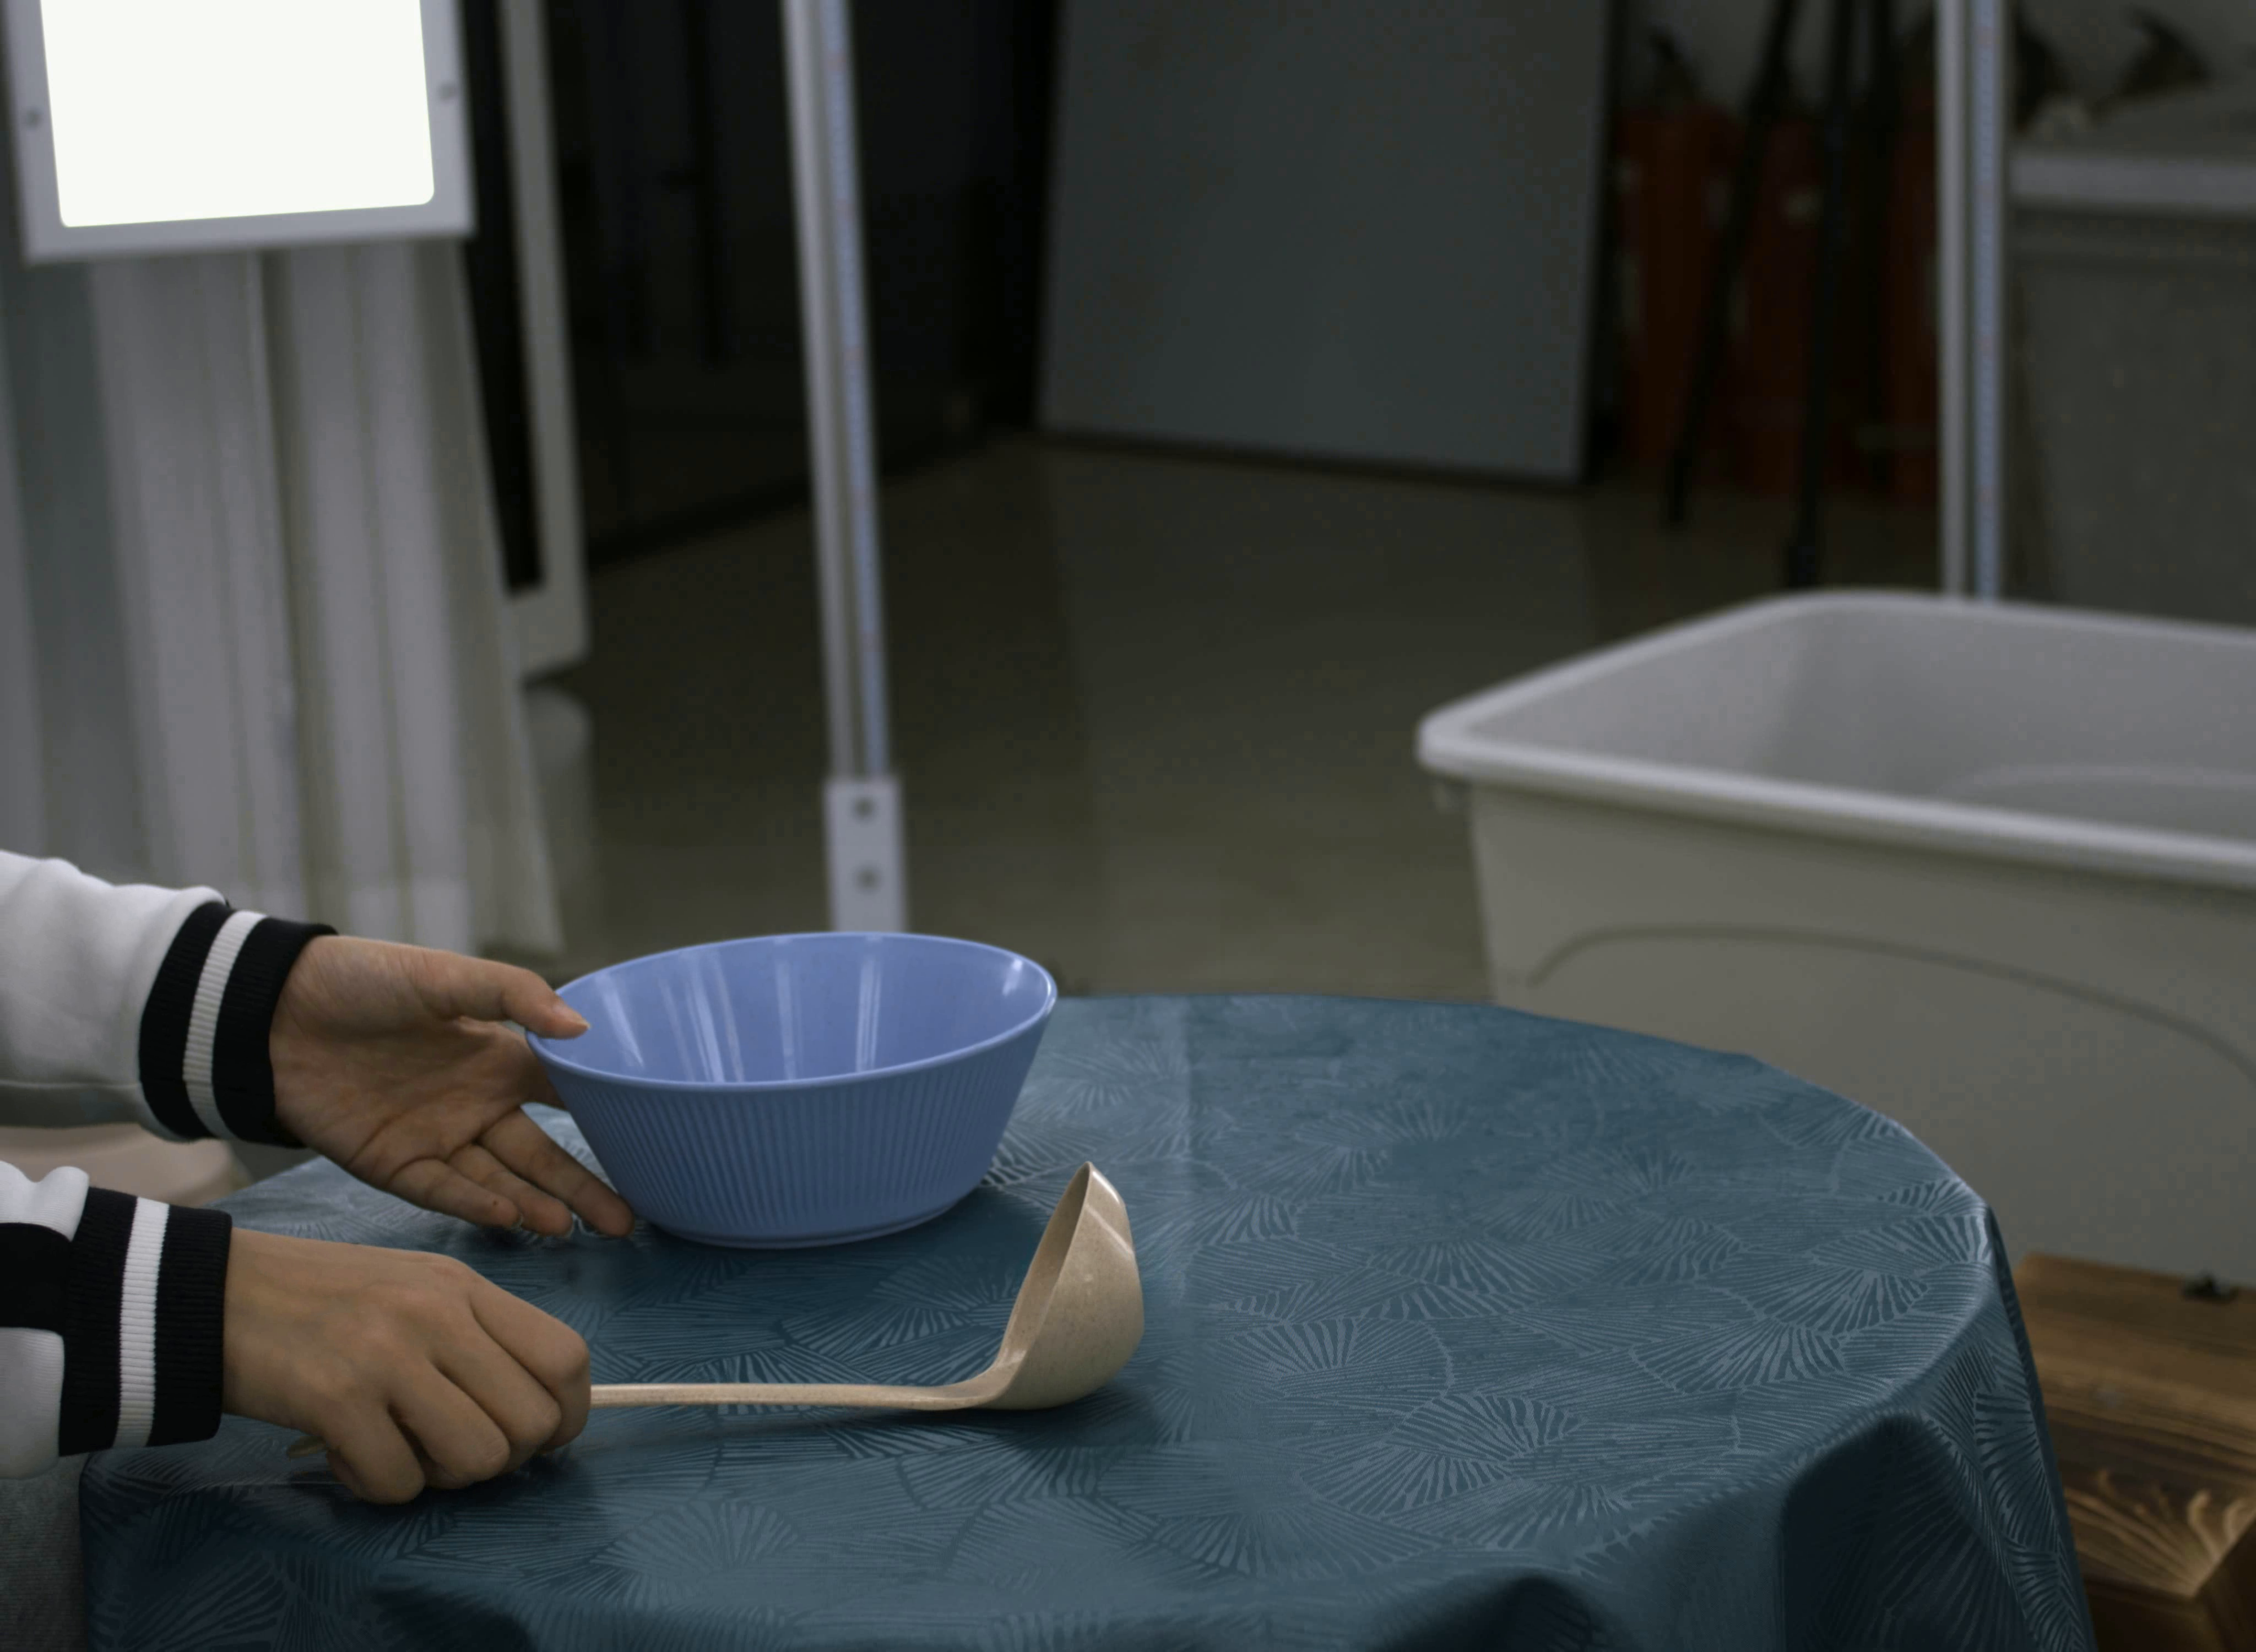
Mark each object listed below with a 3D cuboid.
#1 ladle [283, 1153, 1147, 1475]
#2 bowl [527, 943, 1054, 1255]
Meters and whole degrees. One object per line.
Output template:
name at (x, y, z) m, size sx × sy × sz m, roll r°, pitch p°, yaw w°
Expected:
ladle at (-0.120, 0.140, 1.565) m, size 0.250 × 0.074 × 0.072 m, roll -4°, pitch 6°, yaw -5°
bowl at (-0.108, 0.092, 1.776) m, size 0.174 × 0.071 × 0.176 m, roll -4°, pitch 13°, yaw 0°
